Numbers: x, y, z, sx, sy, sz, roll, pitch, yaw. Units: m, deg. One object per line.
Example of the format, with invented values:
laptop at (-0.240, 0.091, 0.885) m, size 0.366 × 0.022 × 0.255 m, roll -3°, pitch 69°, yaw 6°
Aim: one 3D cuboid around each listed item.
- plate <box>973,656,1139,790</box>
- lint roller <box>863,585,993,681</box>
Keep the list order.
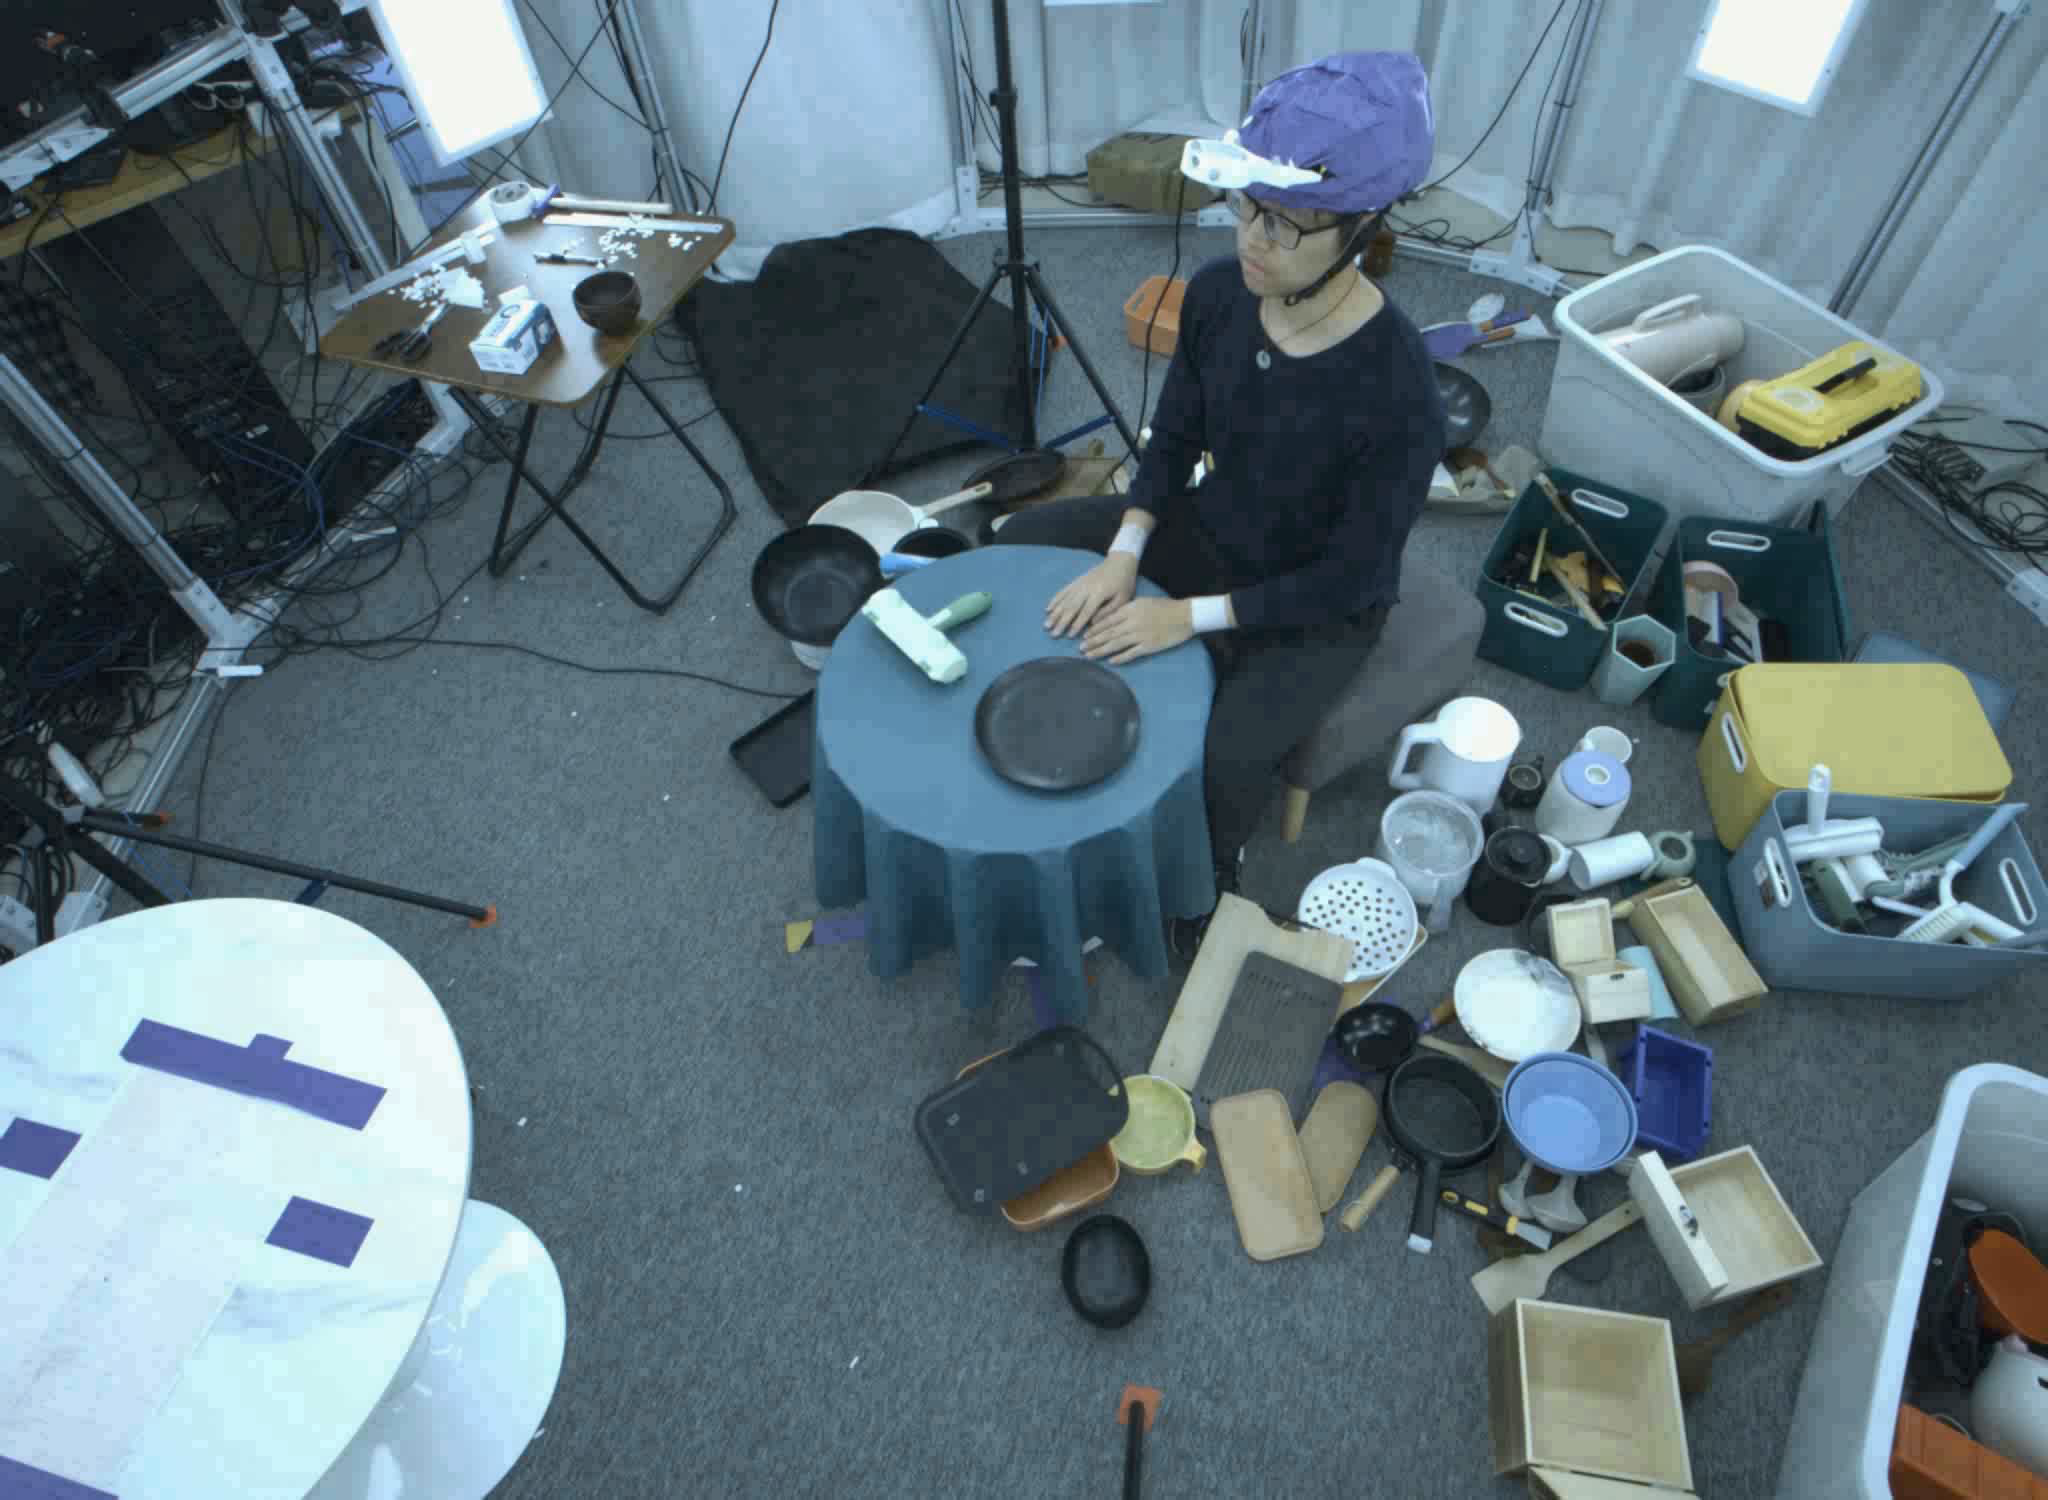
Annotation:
plate at (0.046, -0.038, 1.798) m, size 0.244 × 0.024 × 0.242 m, roll 0°, pitch 55°, yaw 2°
lint roller at (-0.125, -0.216, 1.891) m, size 0.184 × 0.083 × 0.195 m, roll -39°, pitch 63°, yaw -15°
